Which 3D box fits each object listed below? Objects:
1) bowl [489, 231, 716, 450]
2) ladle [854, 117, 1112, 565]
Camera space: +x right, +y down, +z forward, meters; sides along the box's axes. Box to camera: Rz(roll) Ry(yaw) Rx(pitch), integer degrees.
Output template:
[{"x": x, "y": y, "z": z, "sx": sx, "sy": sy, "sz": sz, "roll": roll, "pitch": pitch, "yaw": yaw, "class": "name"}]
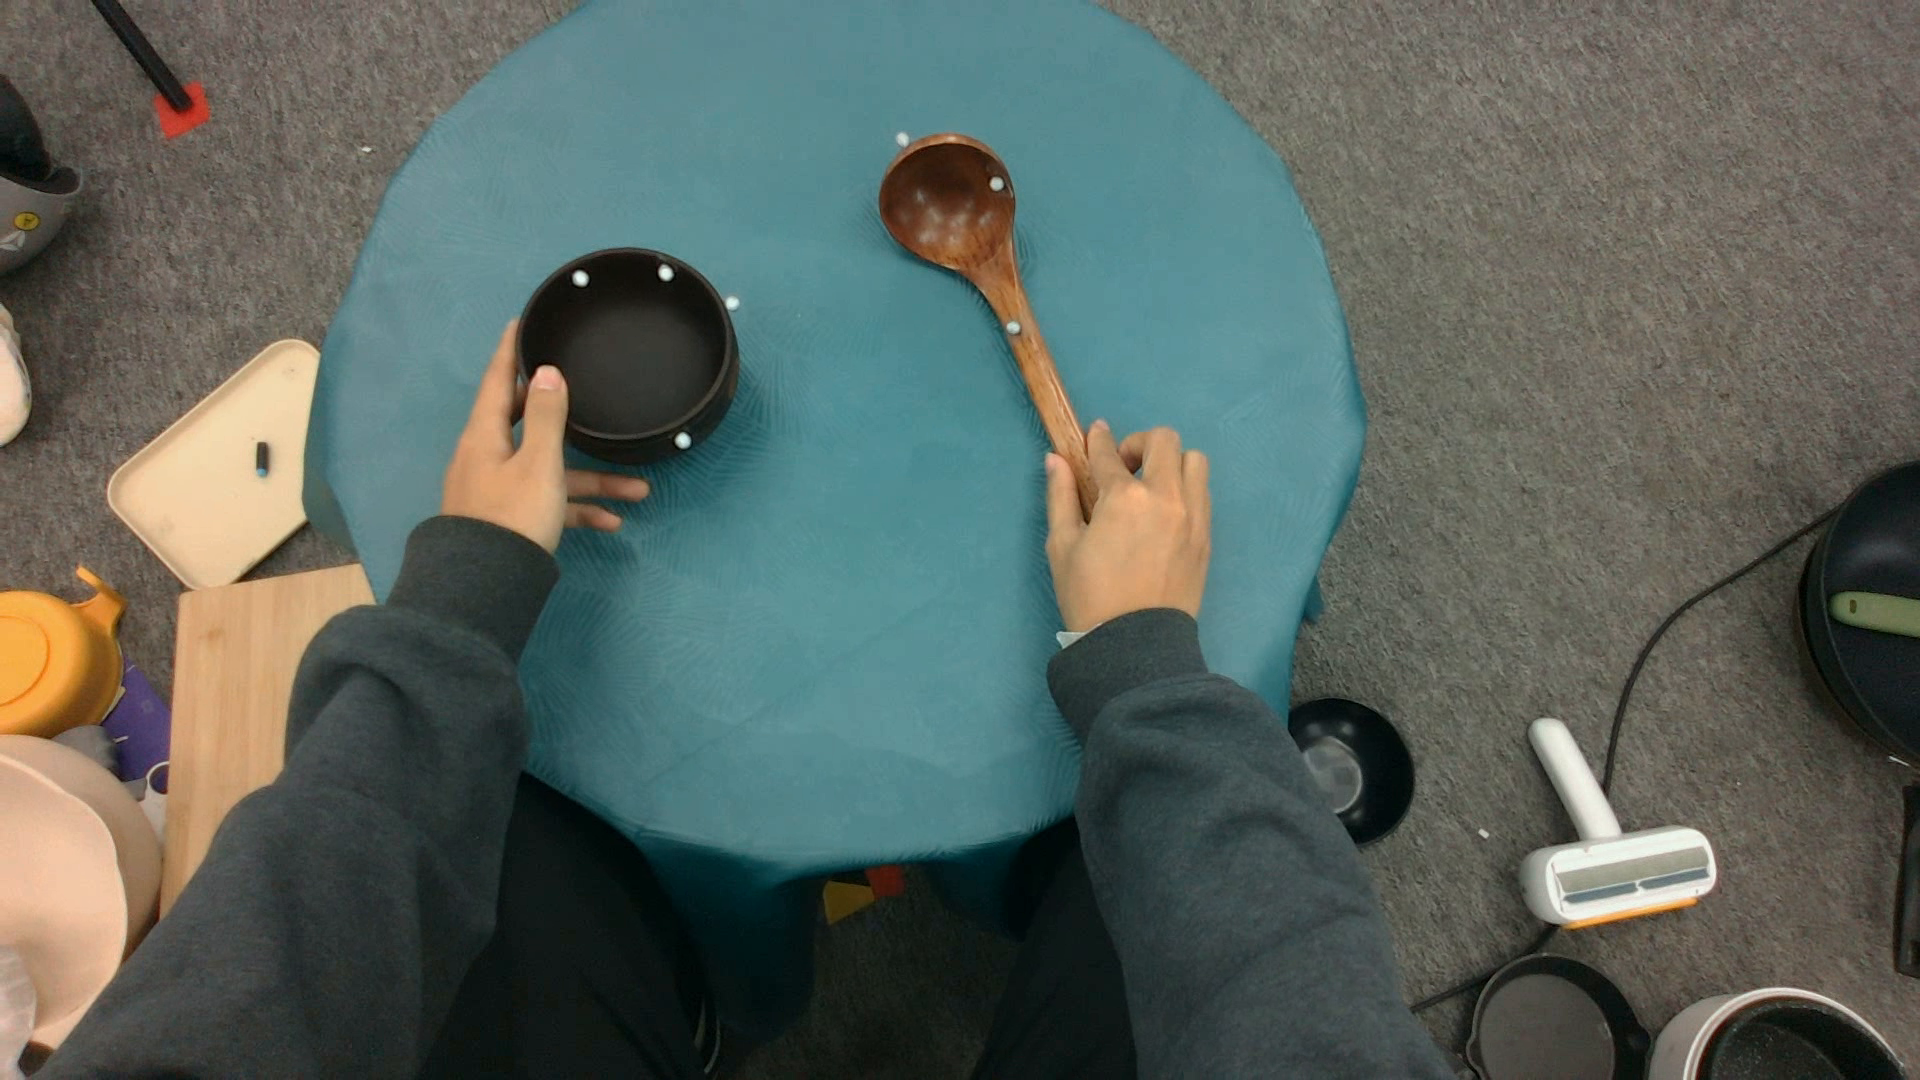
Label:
[{"x": -0.193, "y": -0.103, "z": 0.761, "sx": 0.118, "sy": 0.069, "sz": 0.118, "roll": 1, "pitch": 71, "yaw": -4, "class": "bowl"}, {"x": 0.017, "y": -0.115, "z": 0.783, "sx": 0.081, "sy": 0.077, "sz": 0.274, "roll": -29, "pitch": 73, "yaw": 29, "class": "ladle"}]
